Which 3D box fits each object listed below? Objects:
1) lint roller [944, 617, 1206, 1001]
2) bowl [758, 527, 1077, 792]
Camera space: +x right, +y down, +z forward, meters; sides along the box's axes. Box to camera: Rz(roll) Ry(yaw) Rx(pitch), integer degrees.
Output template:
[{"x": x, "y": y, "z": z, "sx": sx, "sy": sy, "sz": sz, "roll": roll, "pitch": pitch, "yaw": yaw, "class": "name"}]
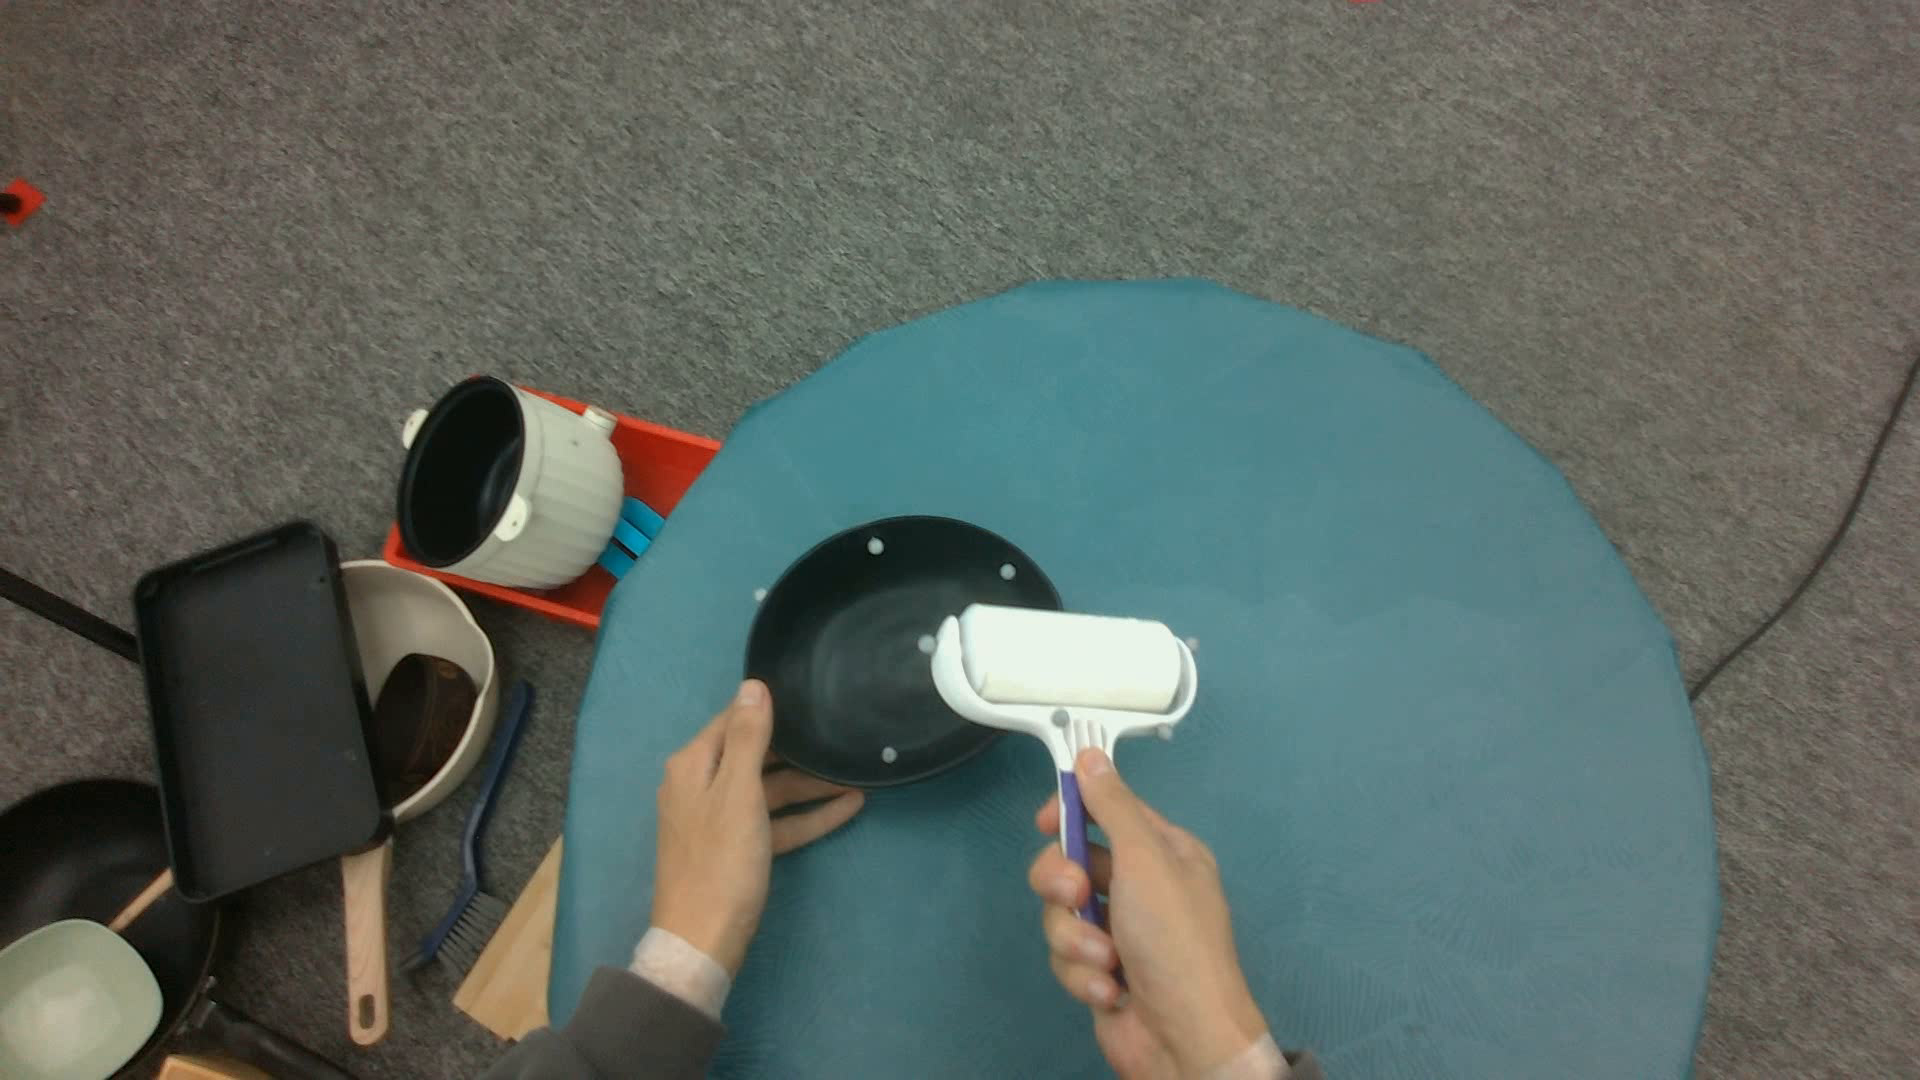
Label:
[{"x": 0.066, "y": 0.114, "z": 0.627, "sx": 0.133, "sy": 0.050, "sz": 0.181, "roll": 8, "pitch": 47, "yaw": -21, "class": "lint roller"}, {"x": -0.021, "y": 0.067, "z": 0.735, "sx": 0.170, "sy": 0.066, "sz": 0.137, "roll": -22, "pitch": 70, "yaw": -6, "class": "bowl"}]
